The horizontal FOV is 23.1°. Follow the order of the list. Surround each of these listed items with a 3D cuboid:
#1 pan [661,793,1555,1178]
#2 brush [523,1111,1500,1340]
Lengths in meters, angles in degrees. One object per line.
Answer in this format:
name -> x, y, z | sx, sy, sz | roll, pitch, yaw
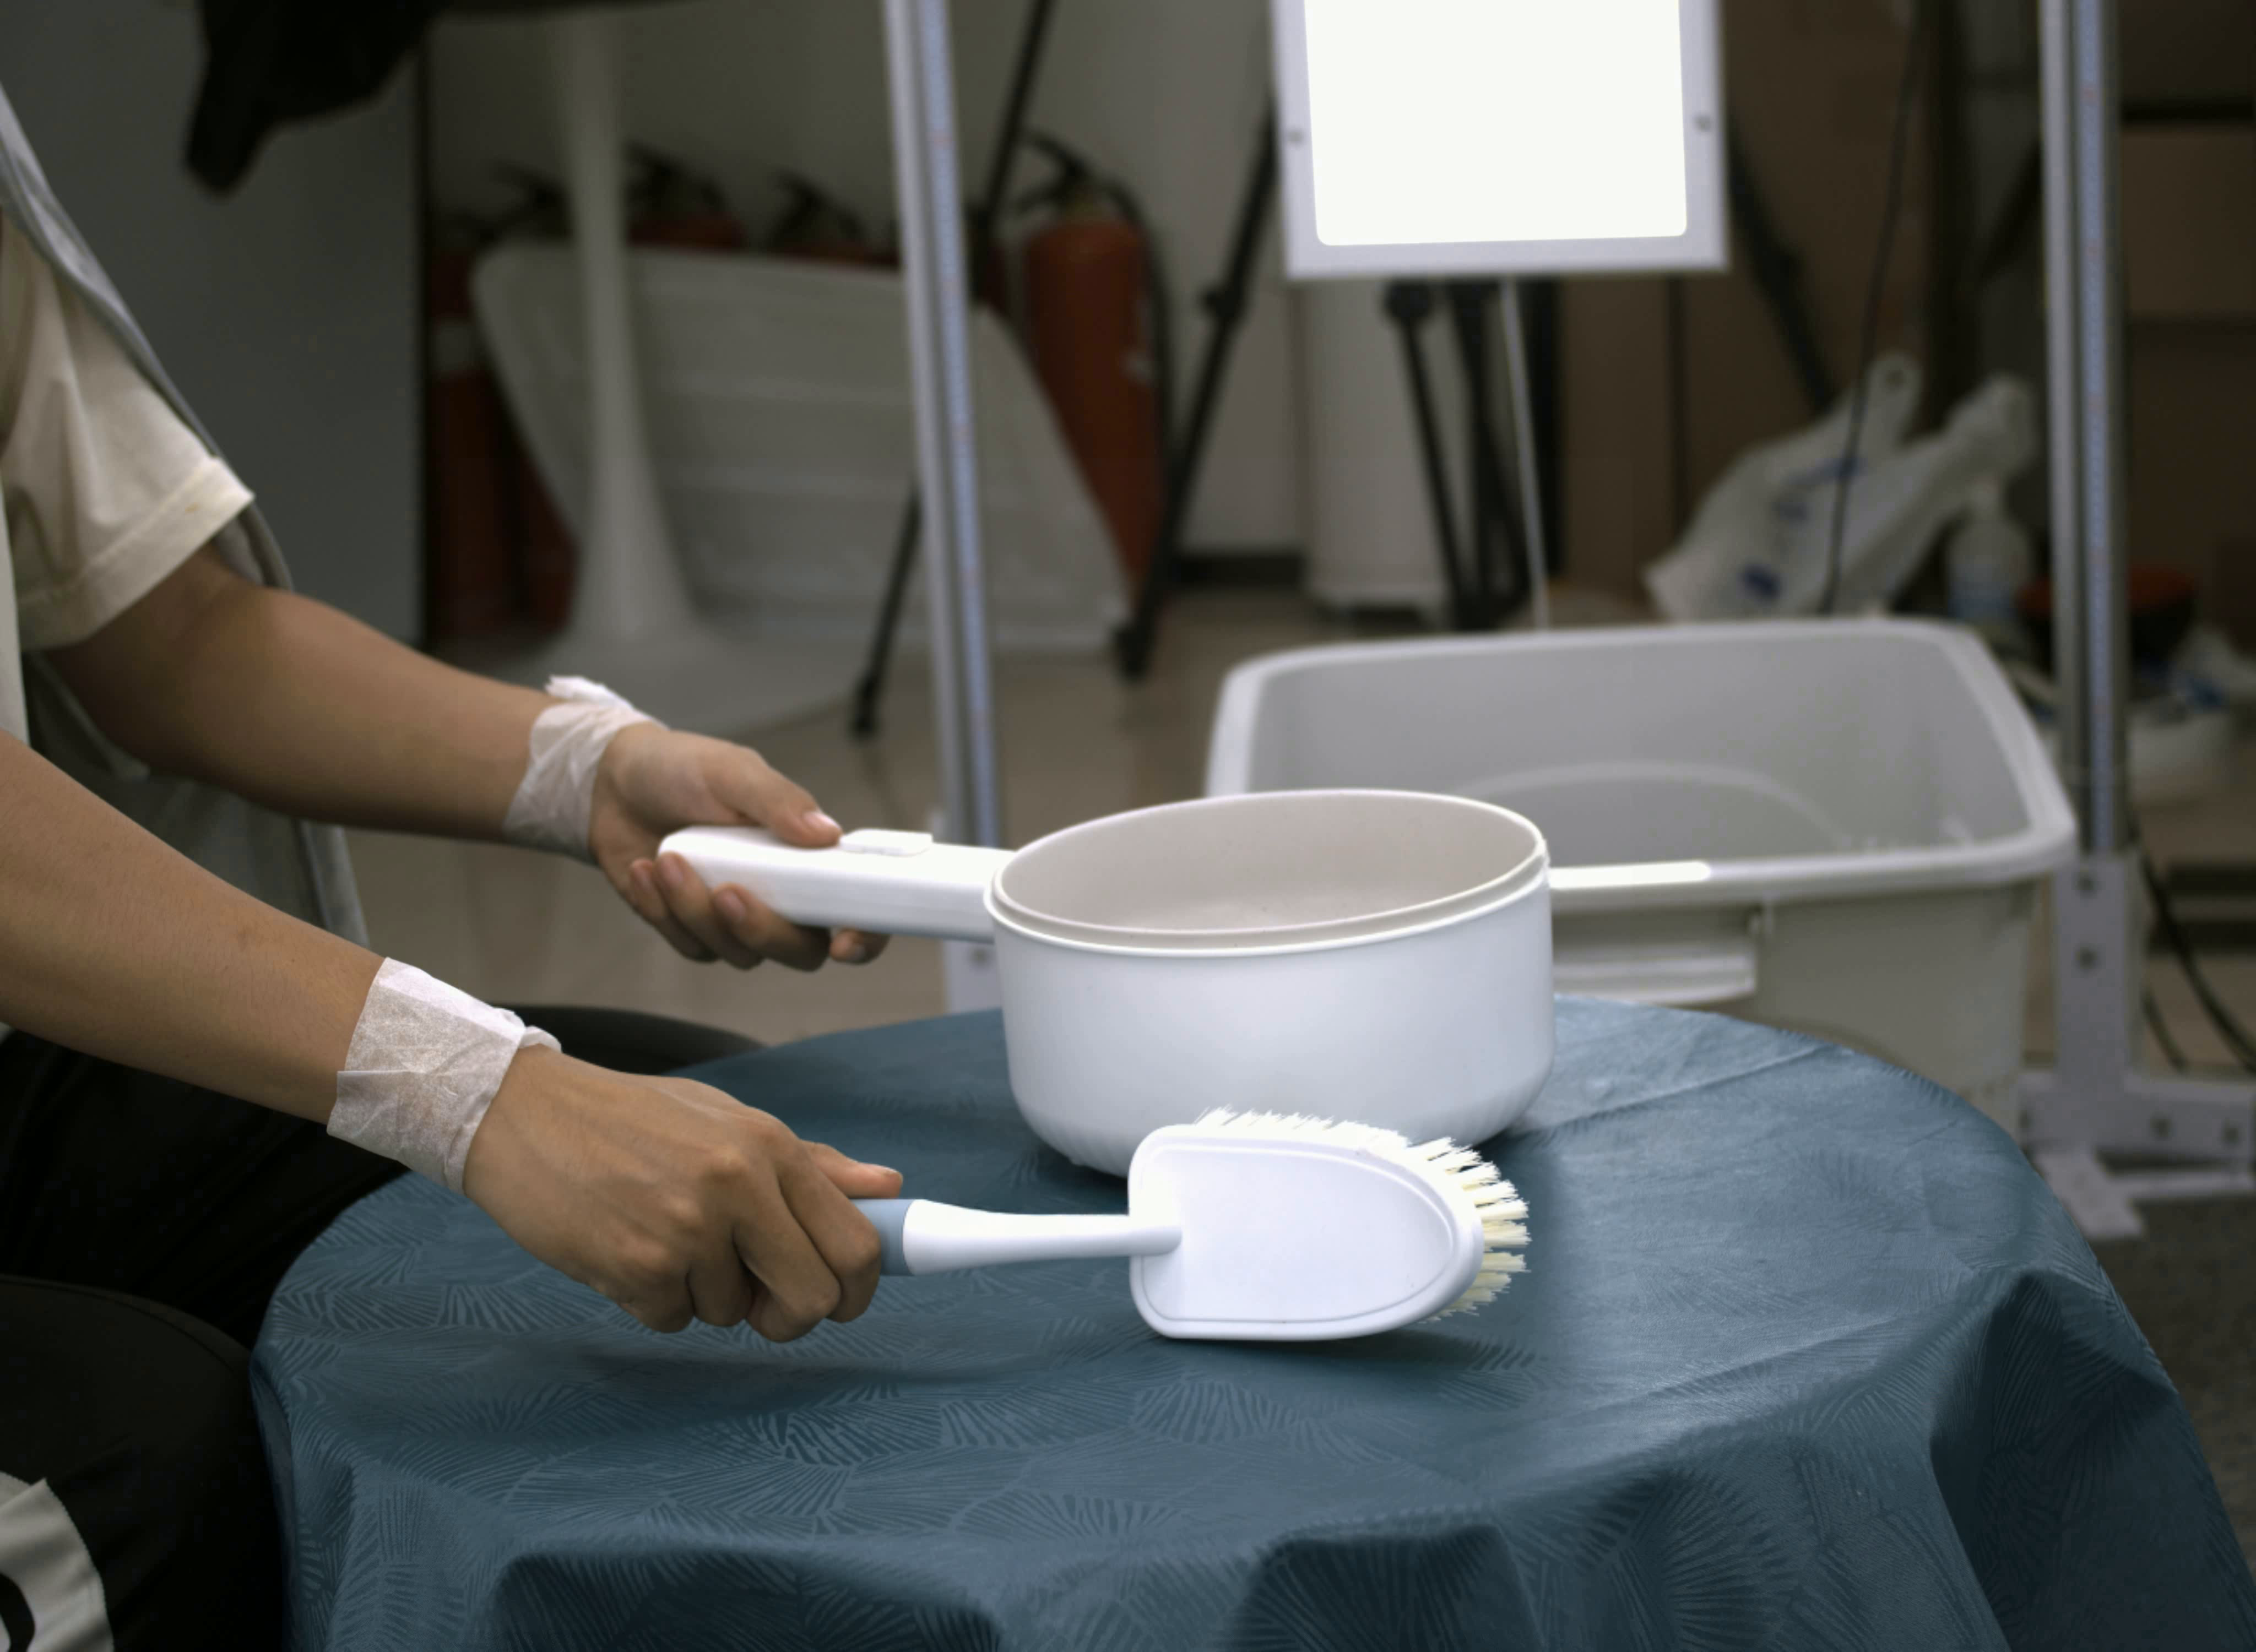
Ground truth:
pan -> -0.013, 0.057, 1.980 | 0.362, 0.102, 0.196 | 3, 16, 33
brush -> -0.036, 0.125, 1.763 | 0.330, 0.084, 0.082 | -2, 53, 22
